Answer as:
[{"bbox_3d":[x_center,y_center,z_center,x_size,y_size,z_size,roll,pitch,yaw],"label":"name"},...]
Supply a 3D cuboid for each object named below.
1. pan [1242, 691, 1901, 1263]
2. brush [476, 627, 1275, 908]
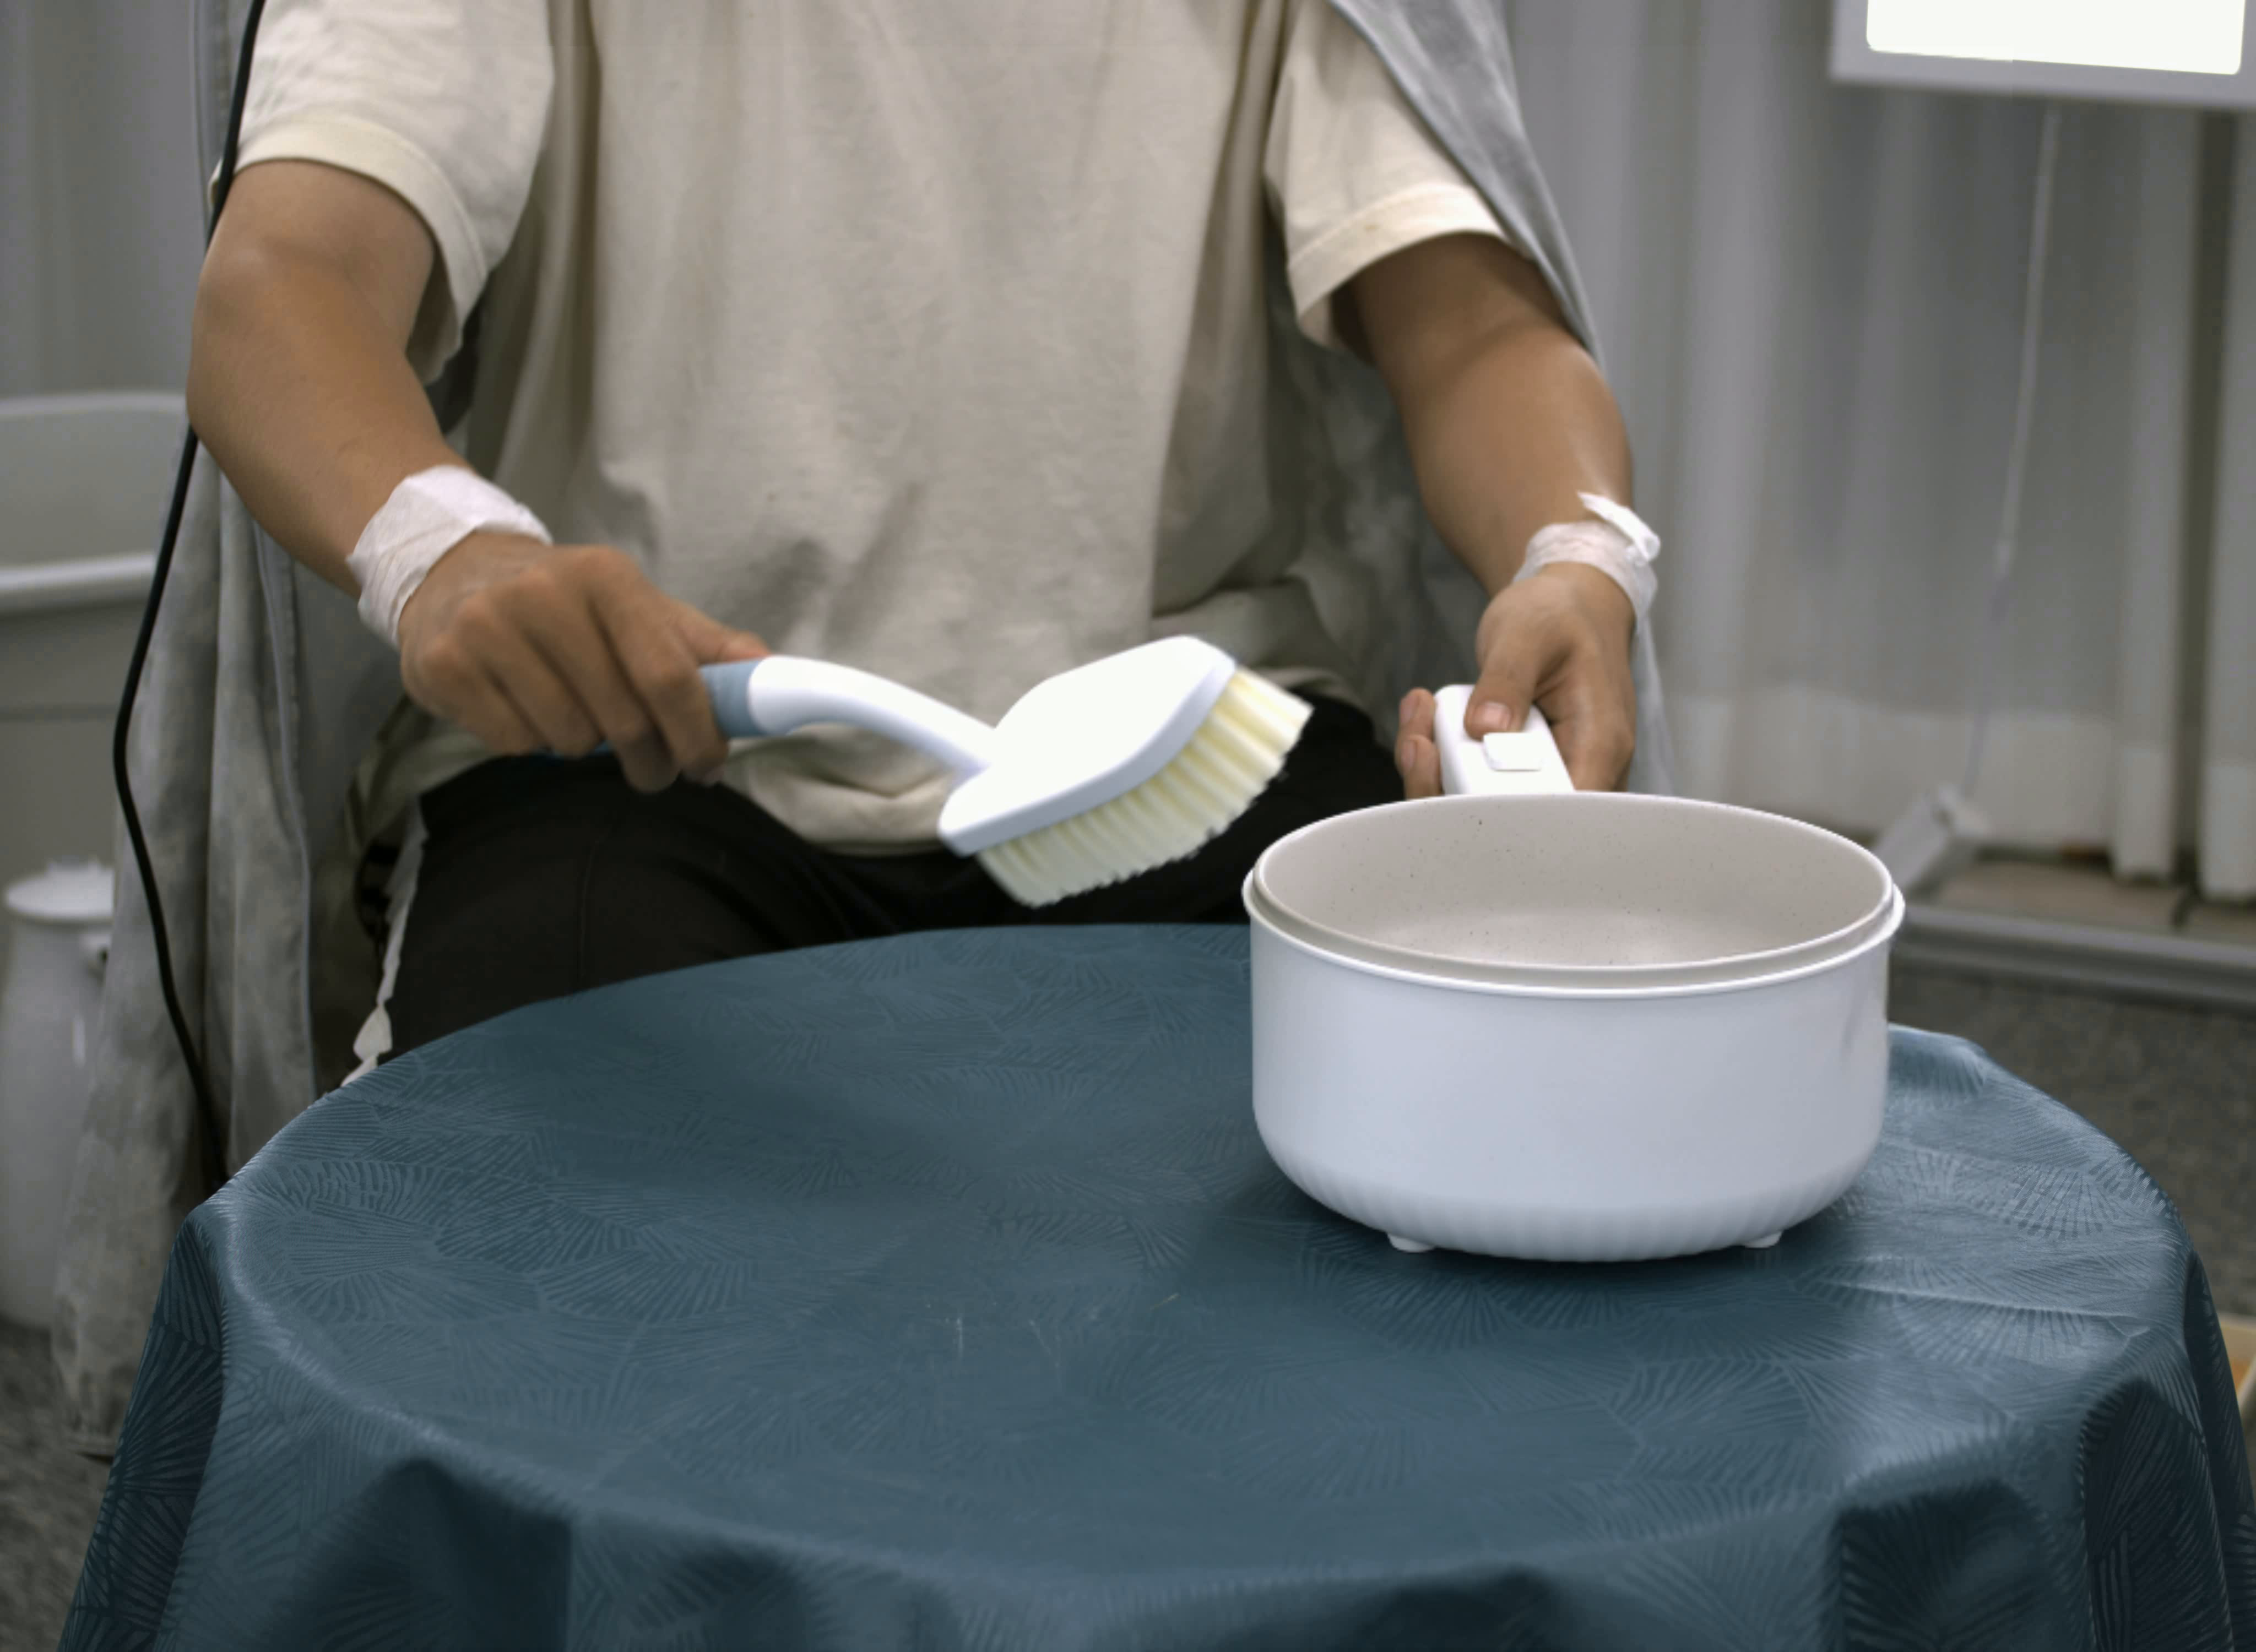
[{"bbox_3d":[0.131,0.044,1.692,0.201,0.103,0.352,-1,15,-3],"label":"pan"},{"bbox_3d":[-0.075,-0.015,1.628,0.322,0.085,0.083,-5,4,43],"label":"brush"}]
